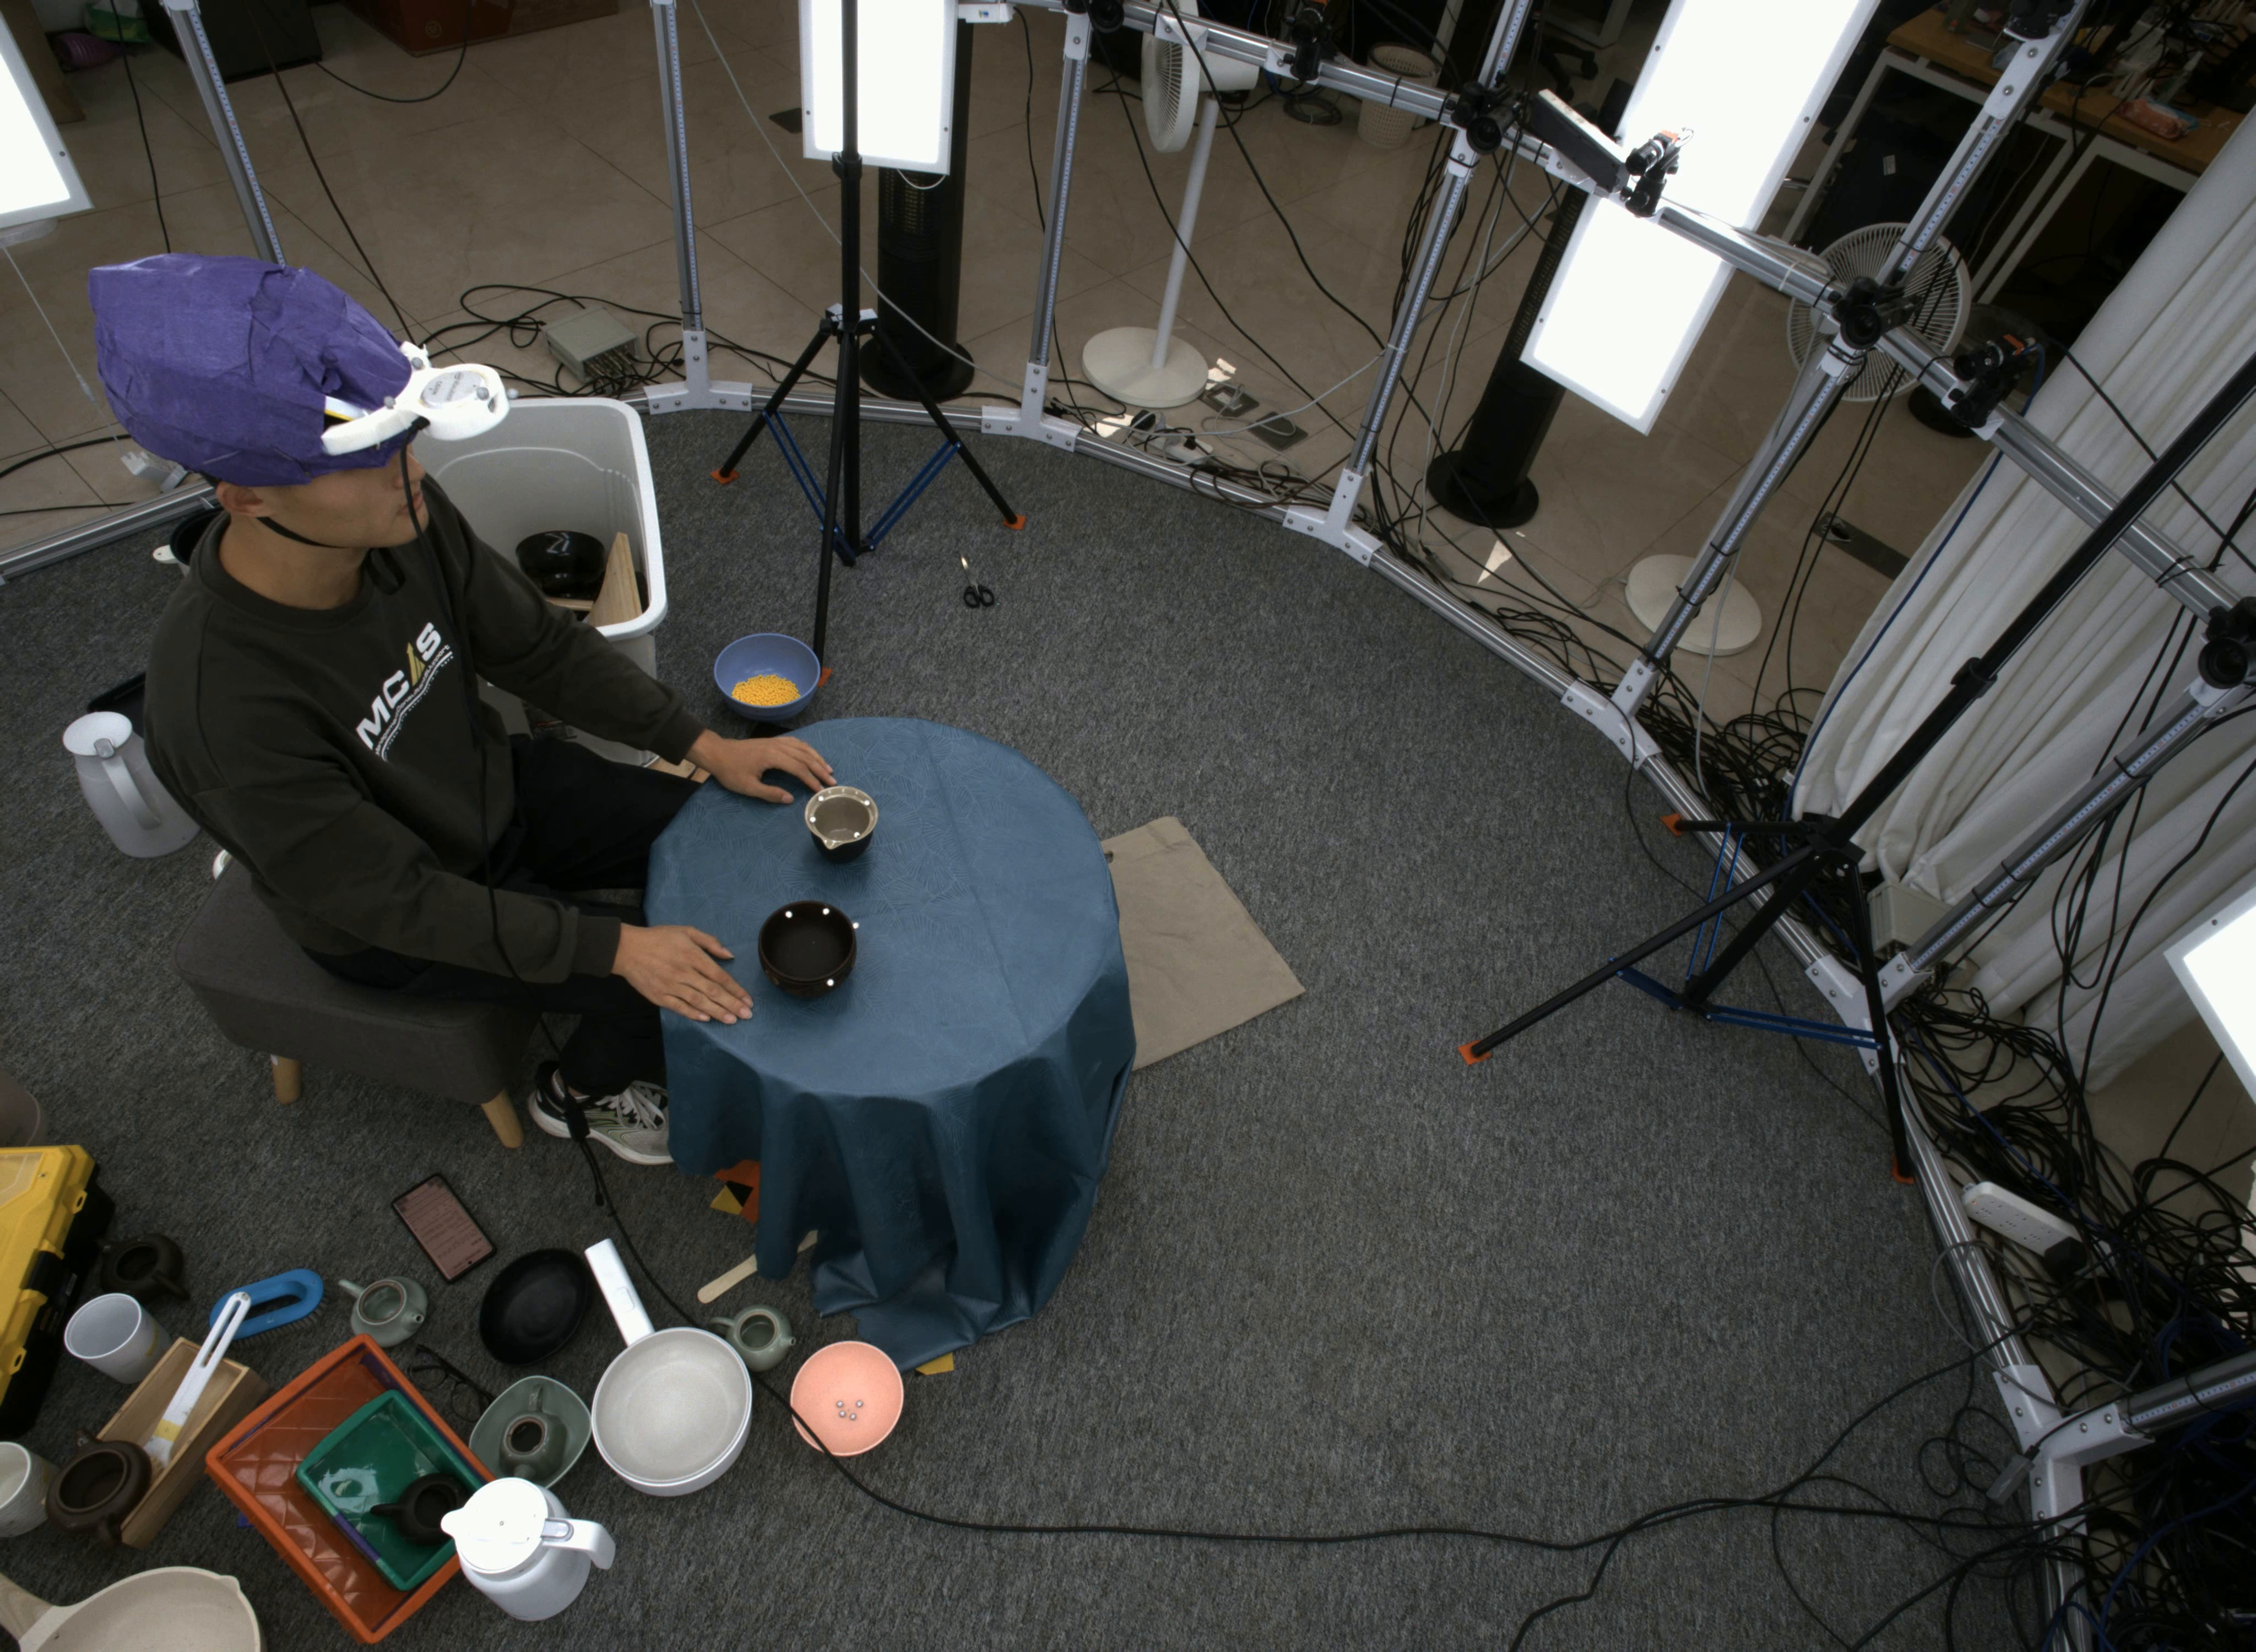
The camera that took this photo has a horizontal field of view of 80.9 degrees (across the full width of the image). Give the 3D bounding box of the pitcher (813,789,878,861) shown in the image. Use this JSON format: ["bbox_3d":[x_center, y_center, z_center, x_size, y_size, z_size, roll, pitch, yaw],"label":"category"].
[{"bbox_3d":[-0.371,0.007,1.696,0.083,0.072,0.095,18,53,-1],"label":"pitcher"}]

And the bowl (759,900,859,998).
[{"bbox_3d":[-0.387,0.155,1.581,0.117,0.071,0.116,6,52,-6],"label":"bowl"}]
